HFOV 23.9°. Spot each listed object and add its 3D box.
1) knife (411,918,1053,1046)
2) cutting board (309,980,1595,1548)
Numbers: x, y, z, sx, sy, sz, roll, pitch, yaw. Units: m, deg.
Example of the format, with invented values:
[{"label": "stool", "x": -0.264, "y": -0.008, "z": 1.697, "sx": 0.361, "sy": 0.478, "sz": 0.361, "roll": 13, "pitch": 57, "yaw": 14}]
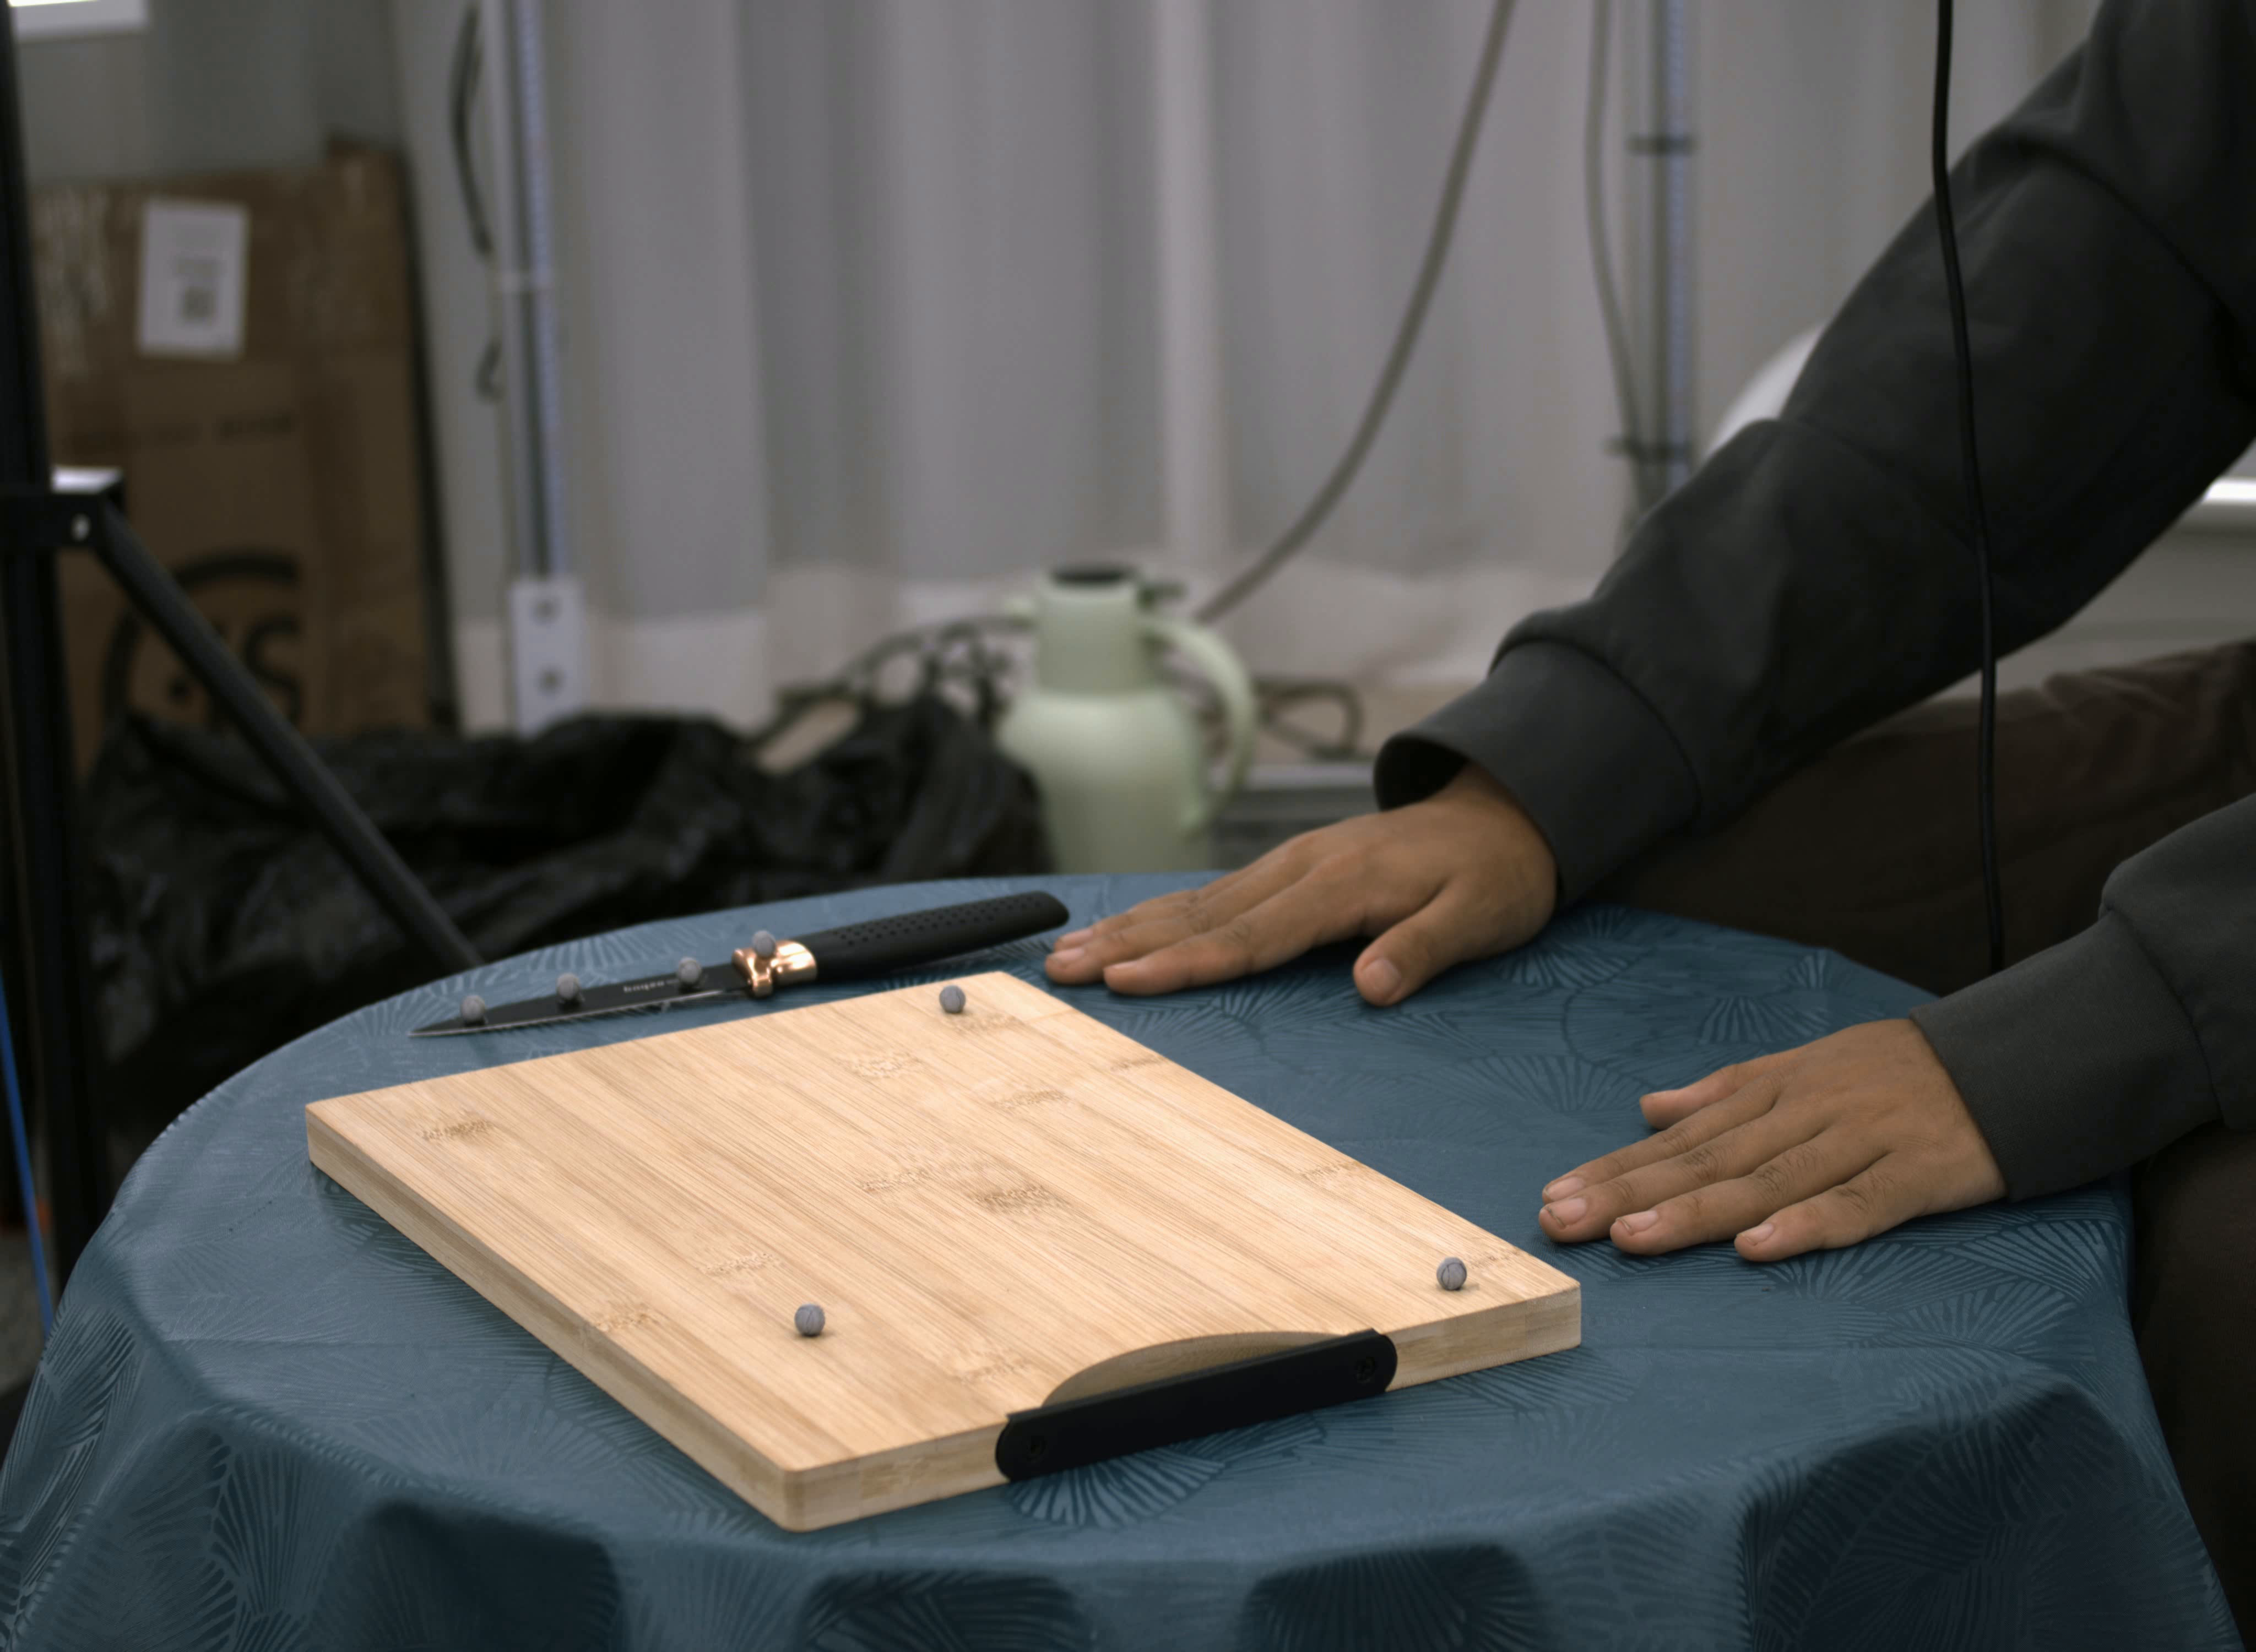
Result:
[{"label": "knife", "x": -0.128, "y": 0.052, "z": 1.754, "sx": 0.221, "sy": 0.017, "sz": 0.026, "roll": -8, "pitch": 23, "yaw": -17}, {"label": "cutting board", "x": -0.060, "y": 0.115, "z": 1.513, "sx": 0.245, "sy": 0.023, "sz": 0.356, "roll": -11, "pitch": 18, "yaw": -27}]
